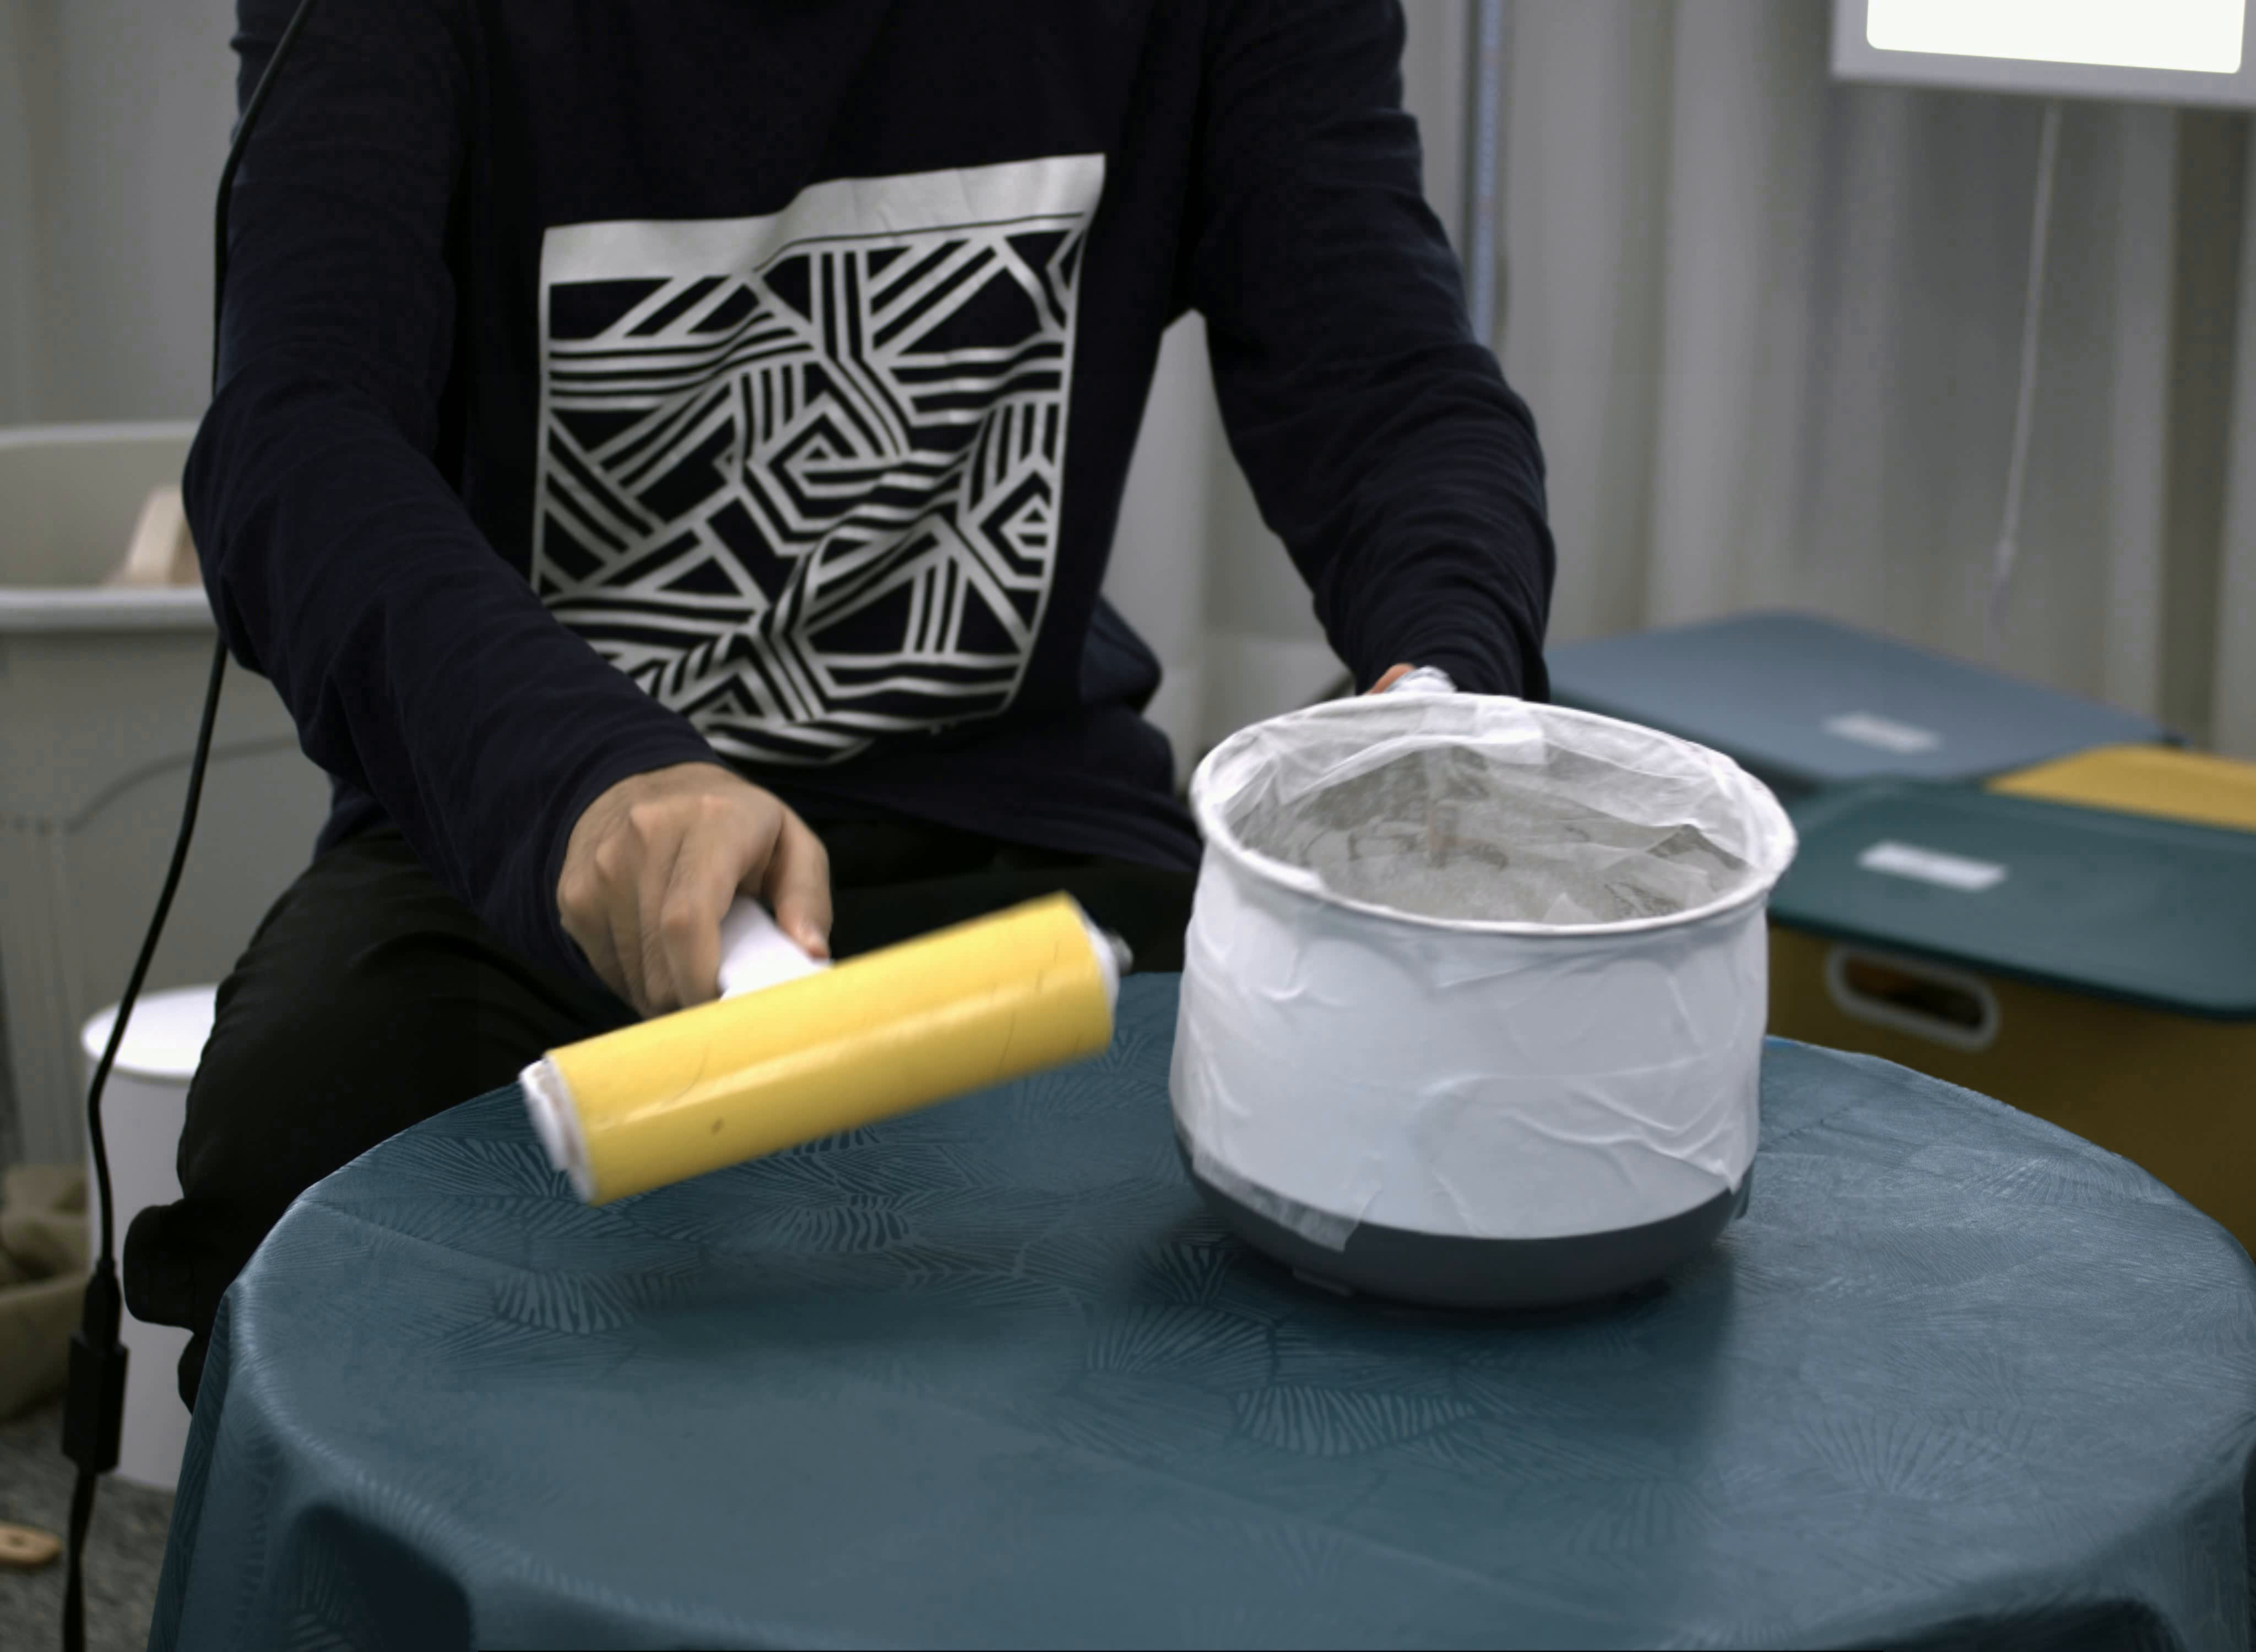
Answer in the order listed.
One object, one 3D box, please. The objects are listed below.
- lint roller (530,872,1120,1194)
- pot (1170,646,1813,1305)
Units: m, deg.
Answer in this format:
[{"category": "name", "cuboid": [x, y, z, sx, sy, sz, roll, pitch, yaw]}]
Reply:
[{"category": "lint roller", "cuboid": [-0.112, 0.036, 1.591, 0.174, 0.052, 0.189, -19, 28, -16]}, {"category": "pot", "cuboid": [0.099, 0.037, 1.579, 0.179, 0.138, 0.231, 2, 25, -13]}]
